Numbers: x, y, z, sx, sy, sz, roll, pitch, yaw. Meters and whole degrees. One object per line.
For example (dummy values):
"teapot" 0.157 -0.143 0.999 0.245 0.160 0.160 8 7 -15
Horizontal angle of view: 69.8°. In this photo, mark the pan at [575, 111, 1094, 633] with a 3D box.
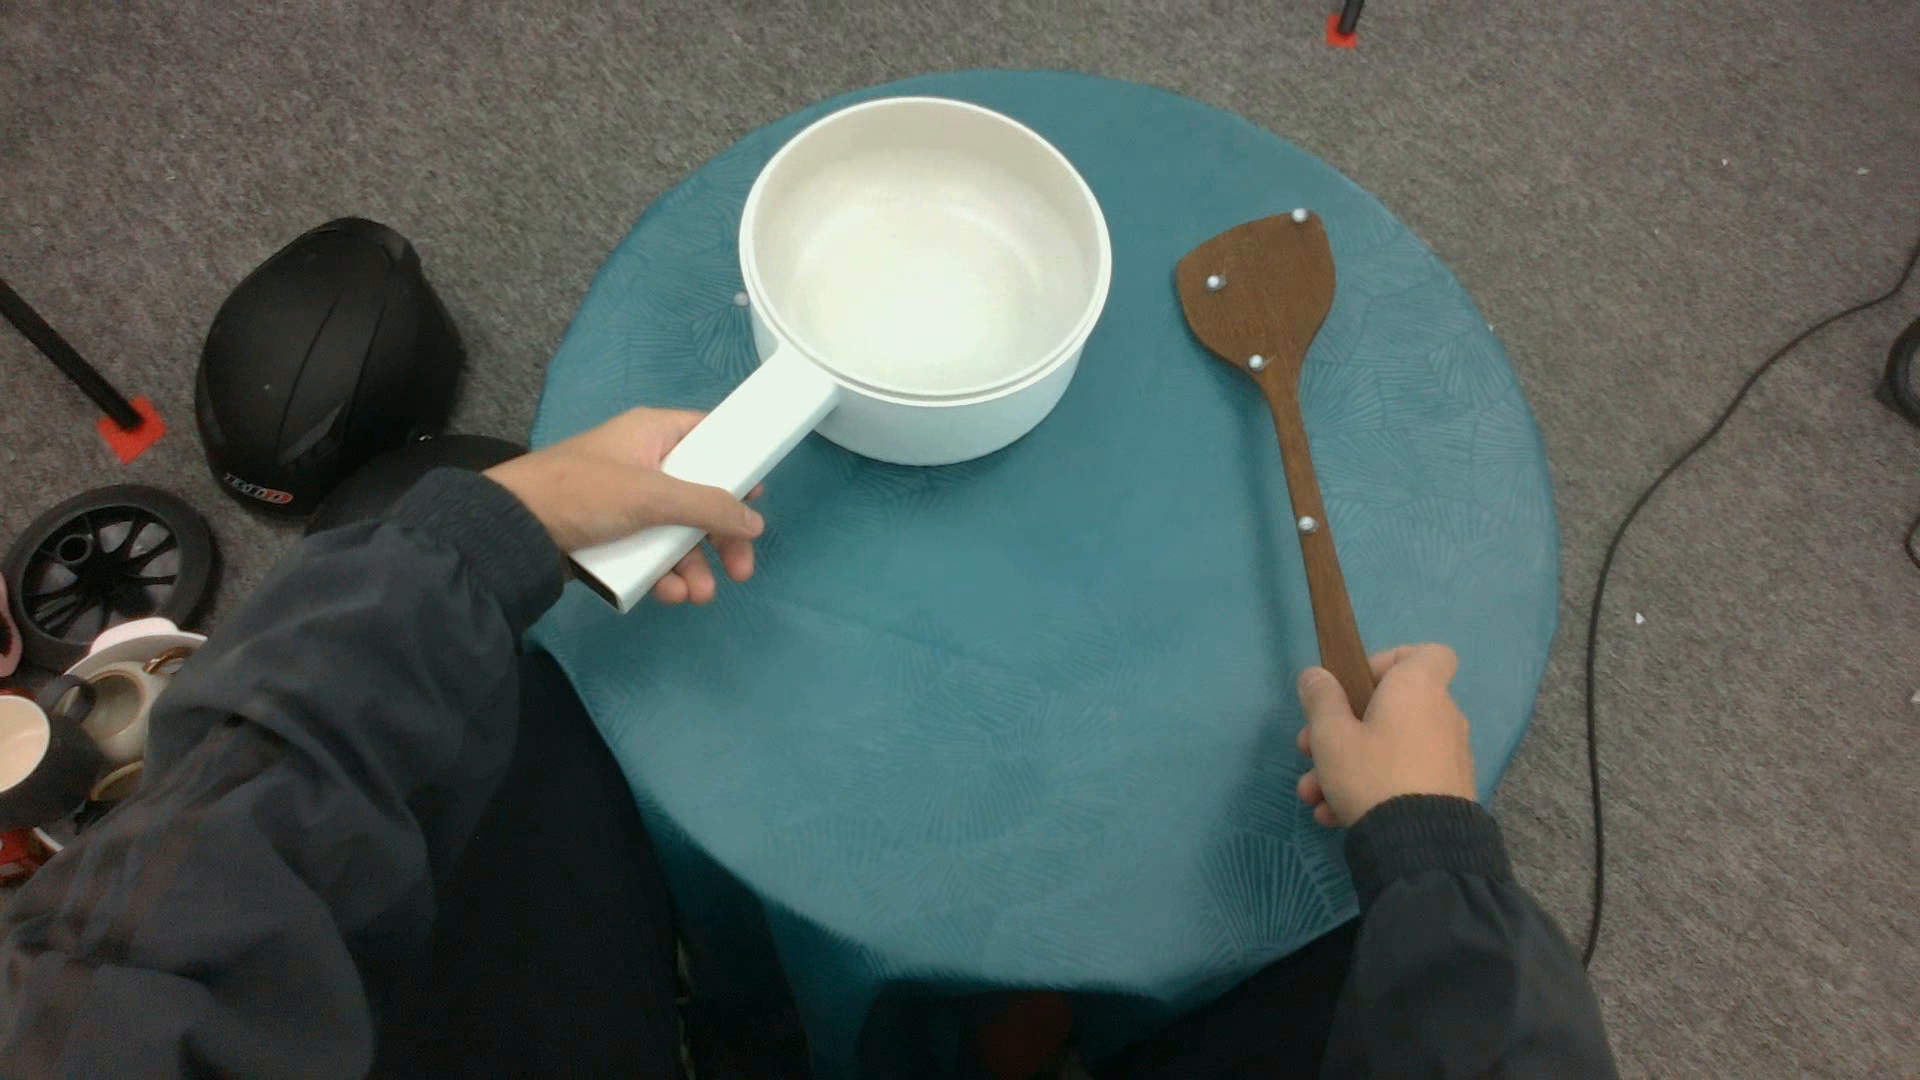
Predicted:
"pan" -0.072 -0.082 0.769 0.201 0.101 0.356 34 68 11

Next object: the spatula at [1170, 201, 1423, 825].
"spatula" 0.195 -0.029 0.775 0.096 0.016 0.387 -26 58 29
